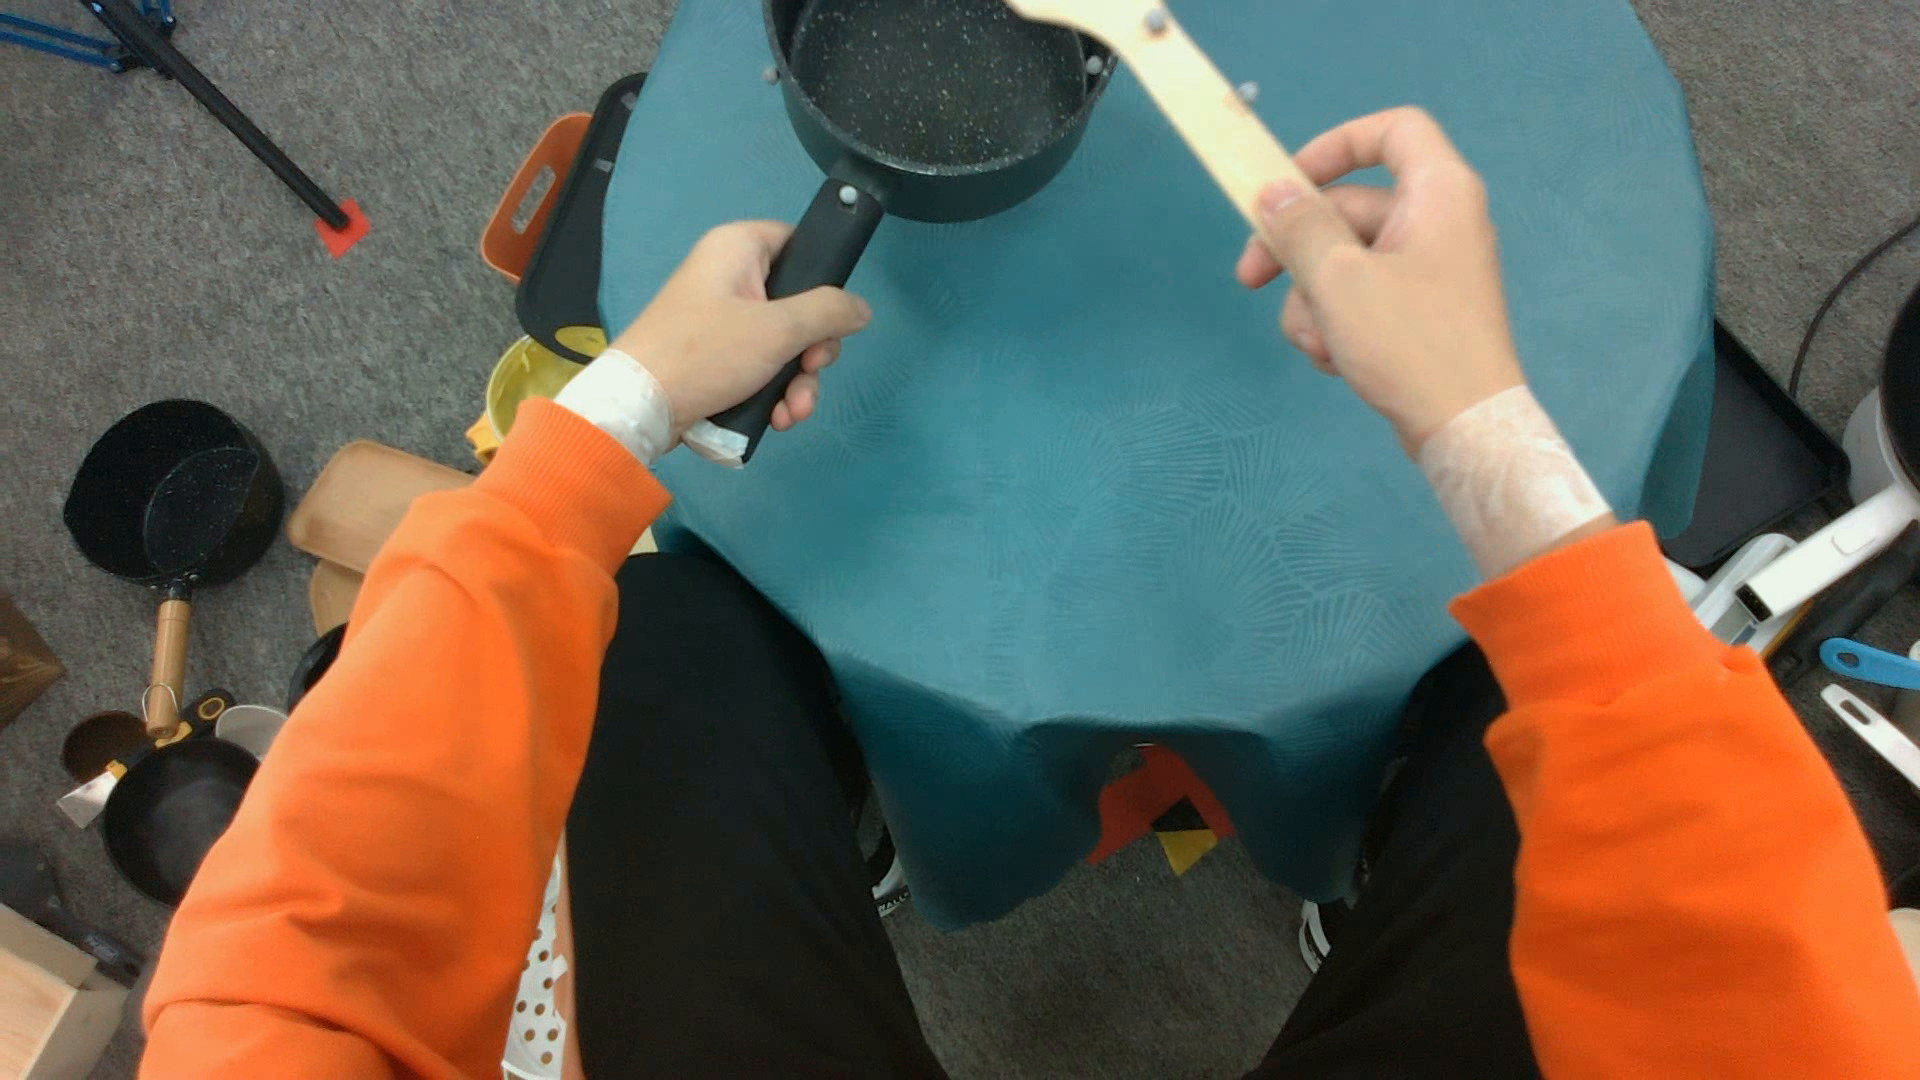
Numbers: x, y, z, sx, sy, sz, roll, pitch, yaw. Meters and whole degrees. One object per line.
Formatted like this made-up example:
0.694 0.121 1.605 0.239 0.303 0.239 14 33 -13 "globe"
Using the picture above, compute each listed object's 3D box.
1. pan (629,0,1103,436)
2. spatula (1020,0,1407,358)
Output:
-0.056 -0.187 0.663 0.172 0.086 0.329 28 78 1 "pan"
0.086 -0.193 0.554 0.072 0.010 0.293 -35 76 10 "spatula"
